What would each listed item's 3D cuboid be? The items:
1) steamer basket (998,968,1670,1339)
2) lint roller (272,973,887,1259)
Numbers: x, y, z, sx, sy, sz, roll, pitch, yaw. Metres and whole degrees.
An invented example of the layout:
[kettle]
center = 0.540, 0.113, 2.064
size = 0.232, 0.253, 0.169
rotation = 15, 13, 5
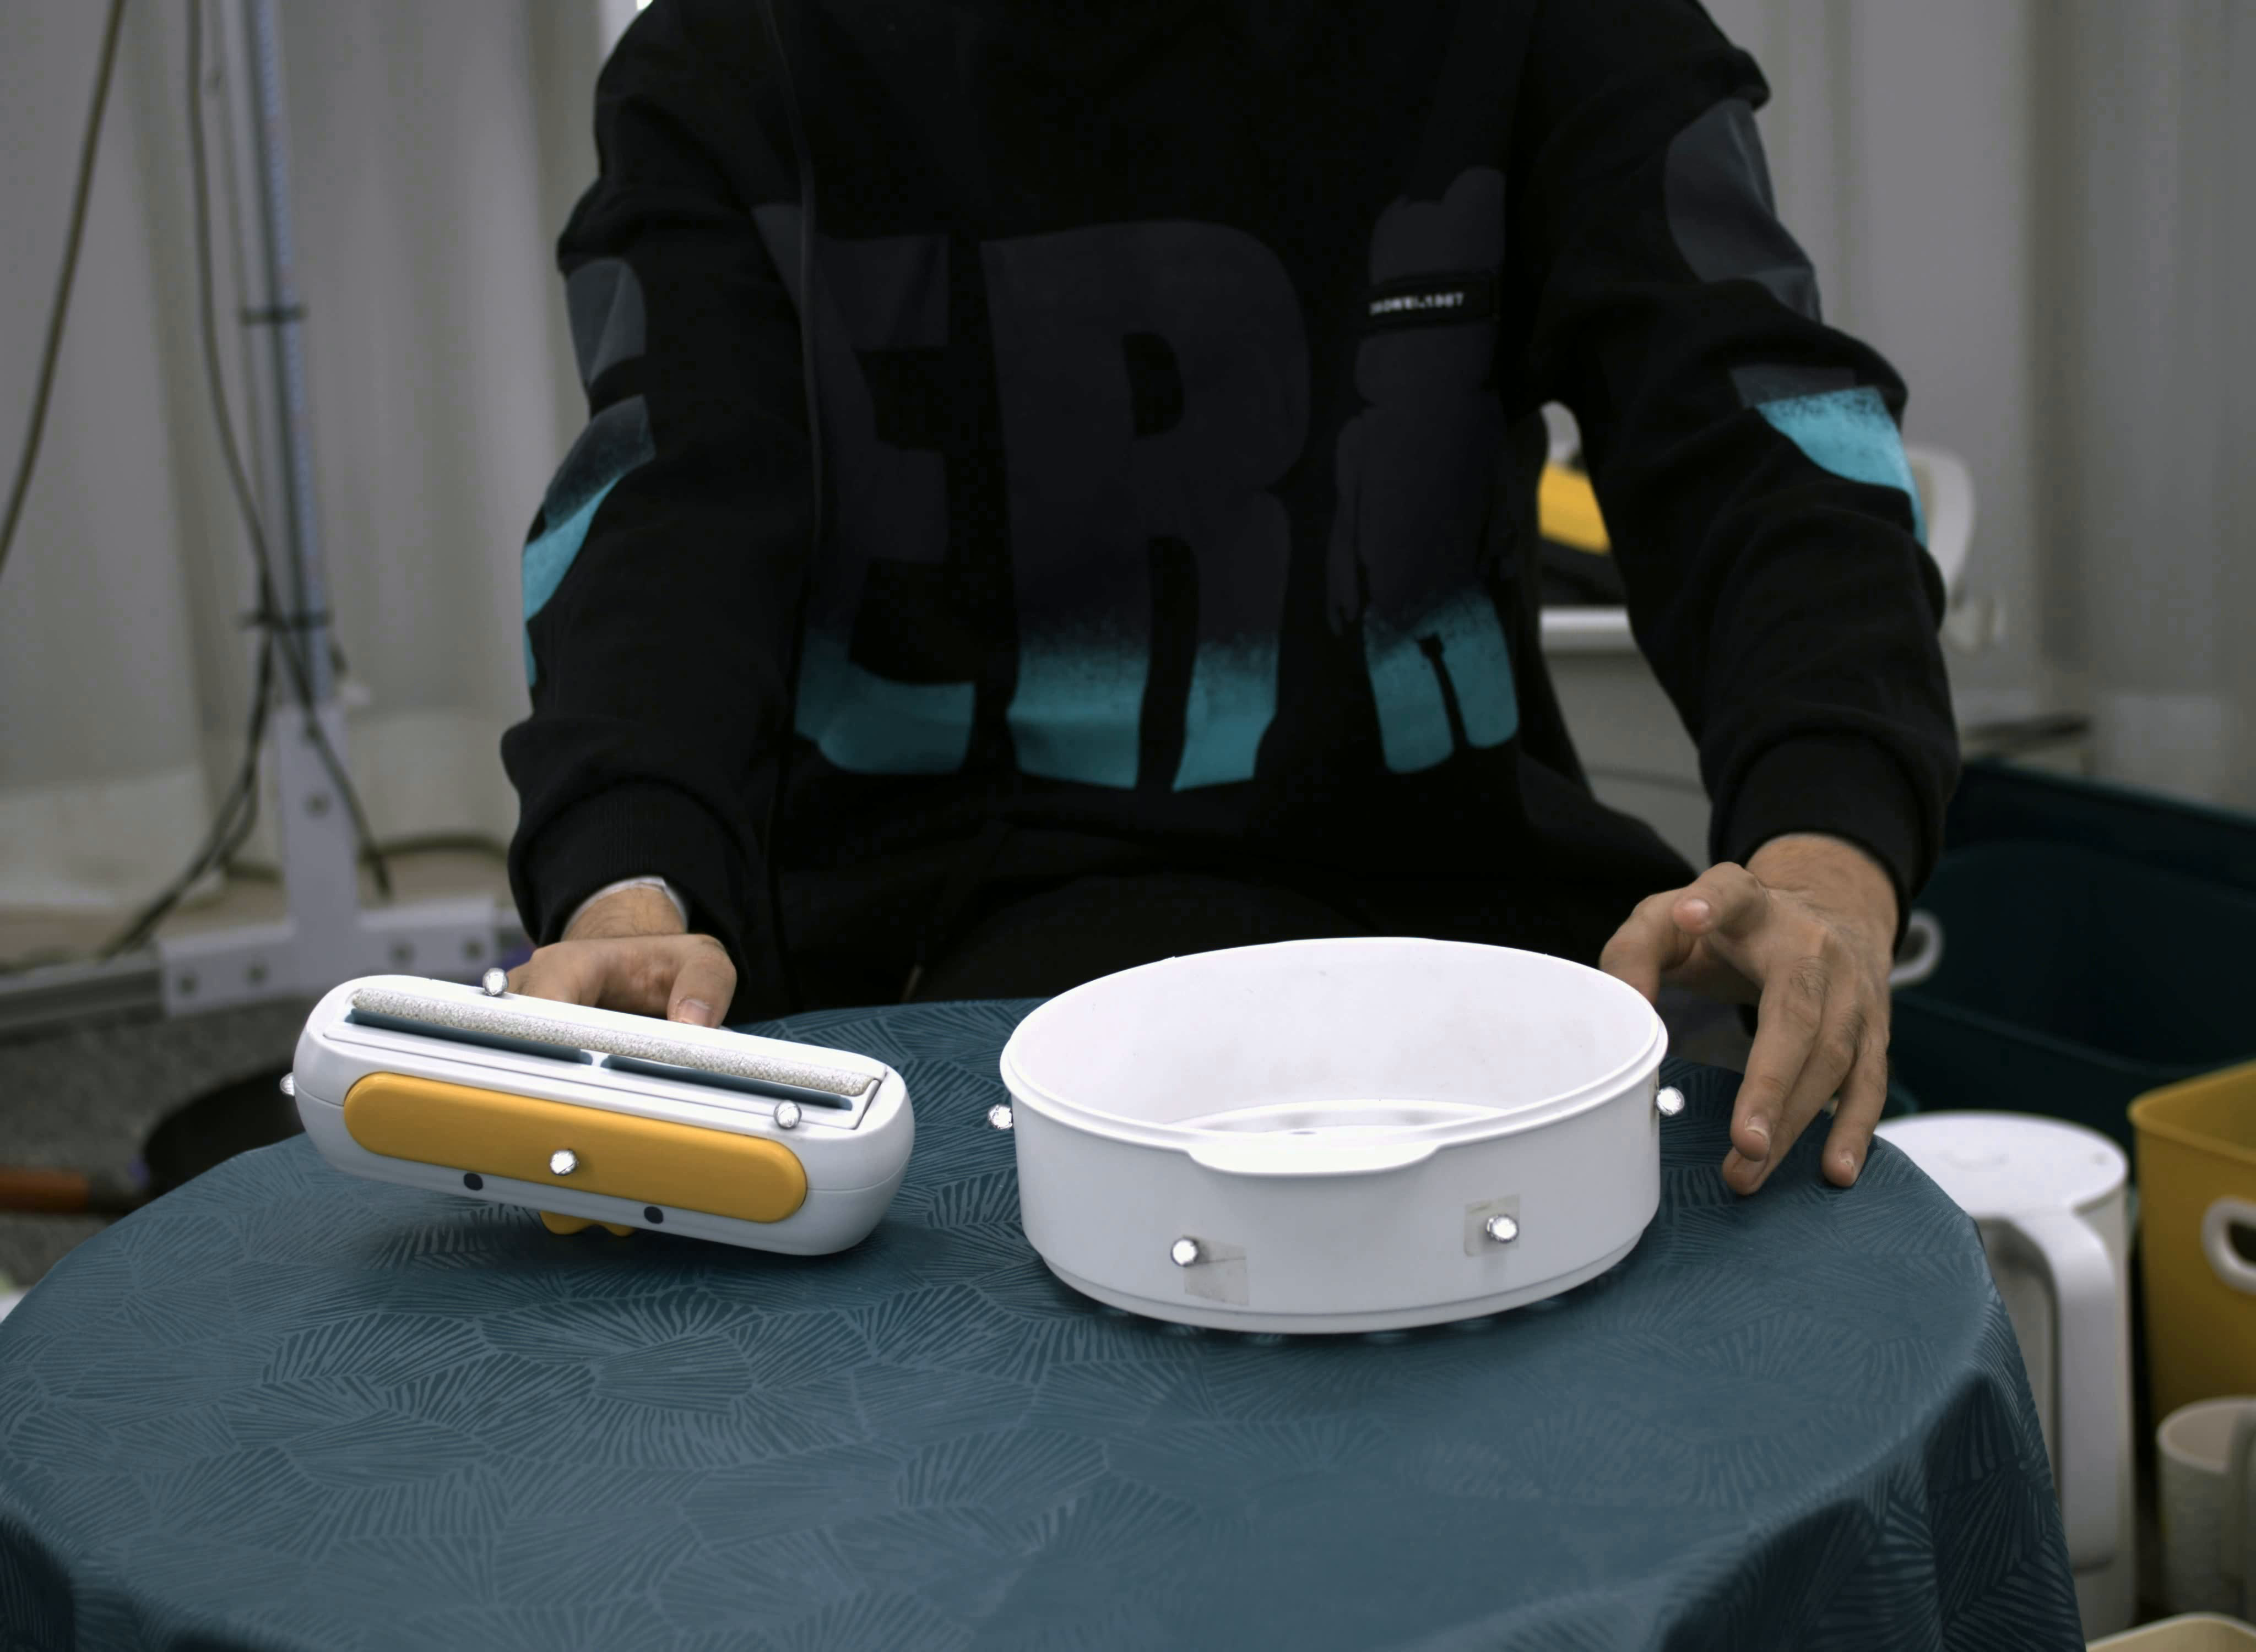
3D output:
[steamer basket]
center = 0.062, 0.098, 1.645
size = 0.201, 0.069, 0.231
rotation = 0, 12, 6
[lint roller]
center = -0.155, 0.082, 1.742
size = 0.193, 0.074, 0.193
rotation = 6, 15, 13
